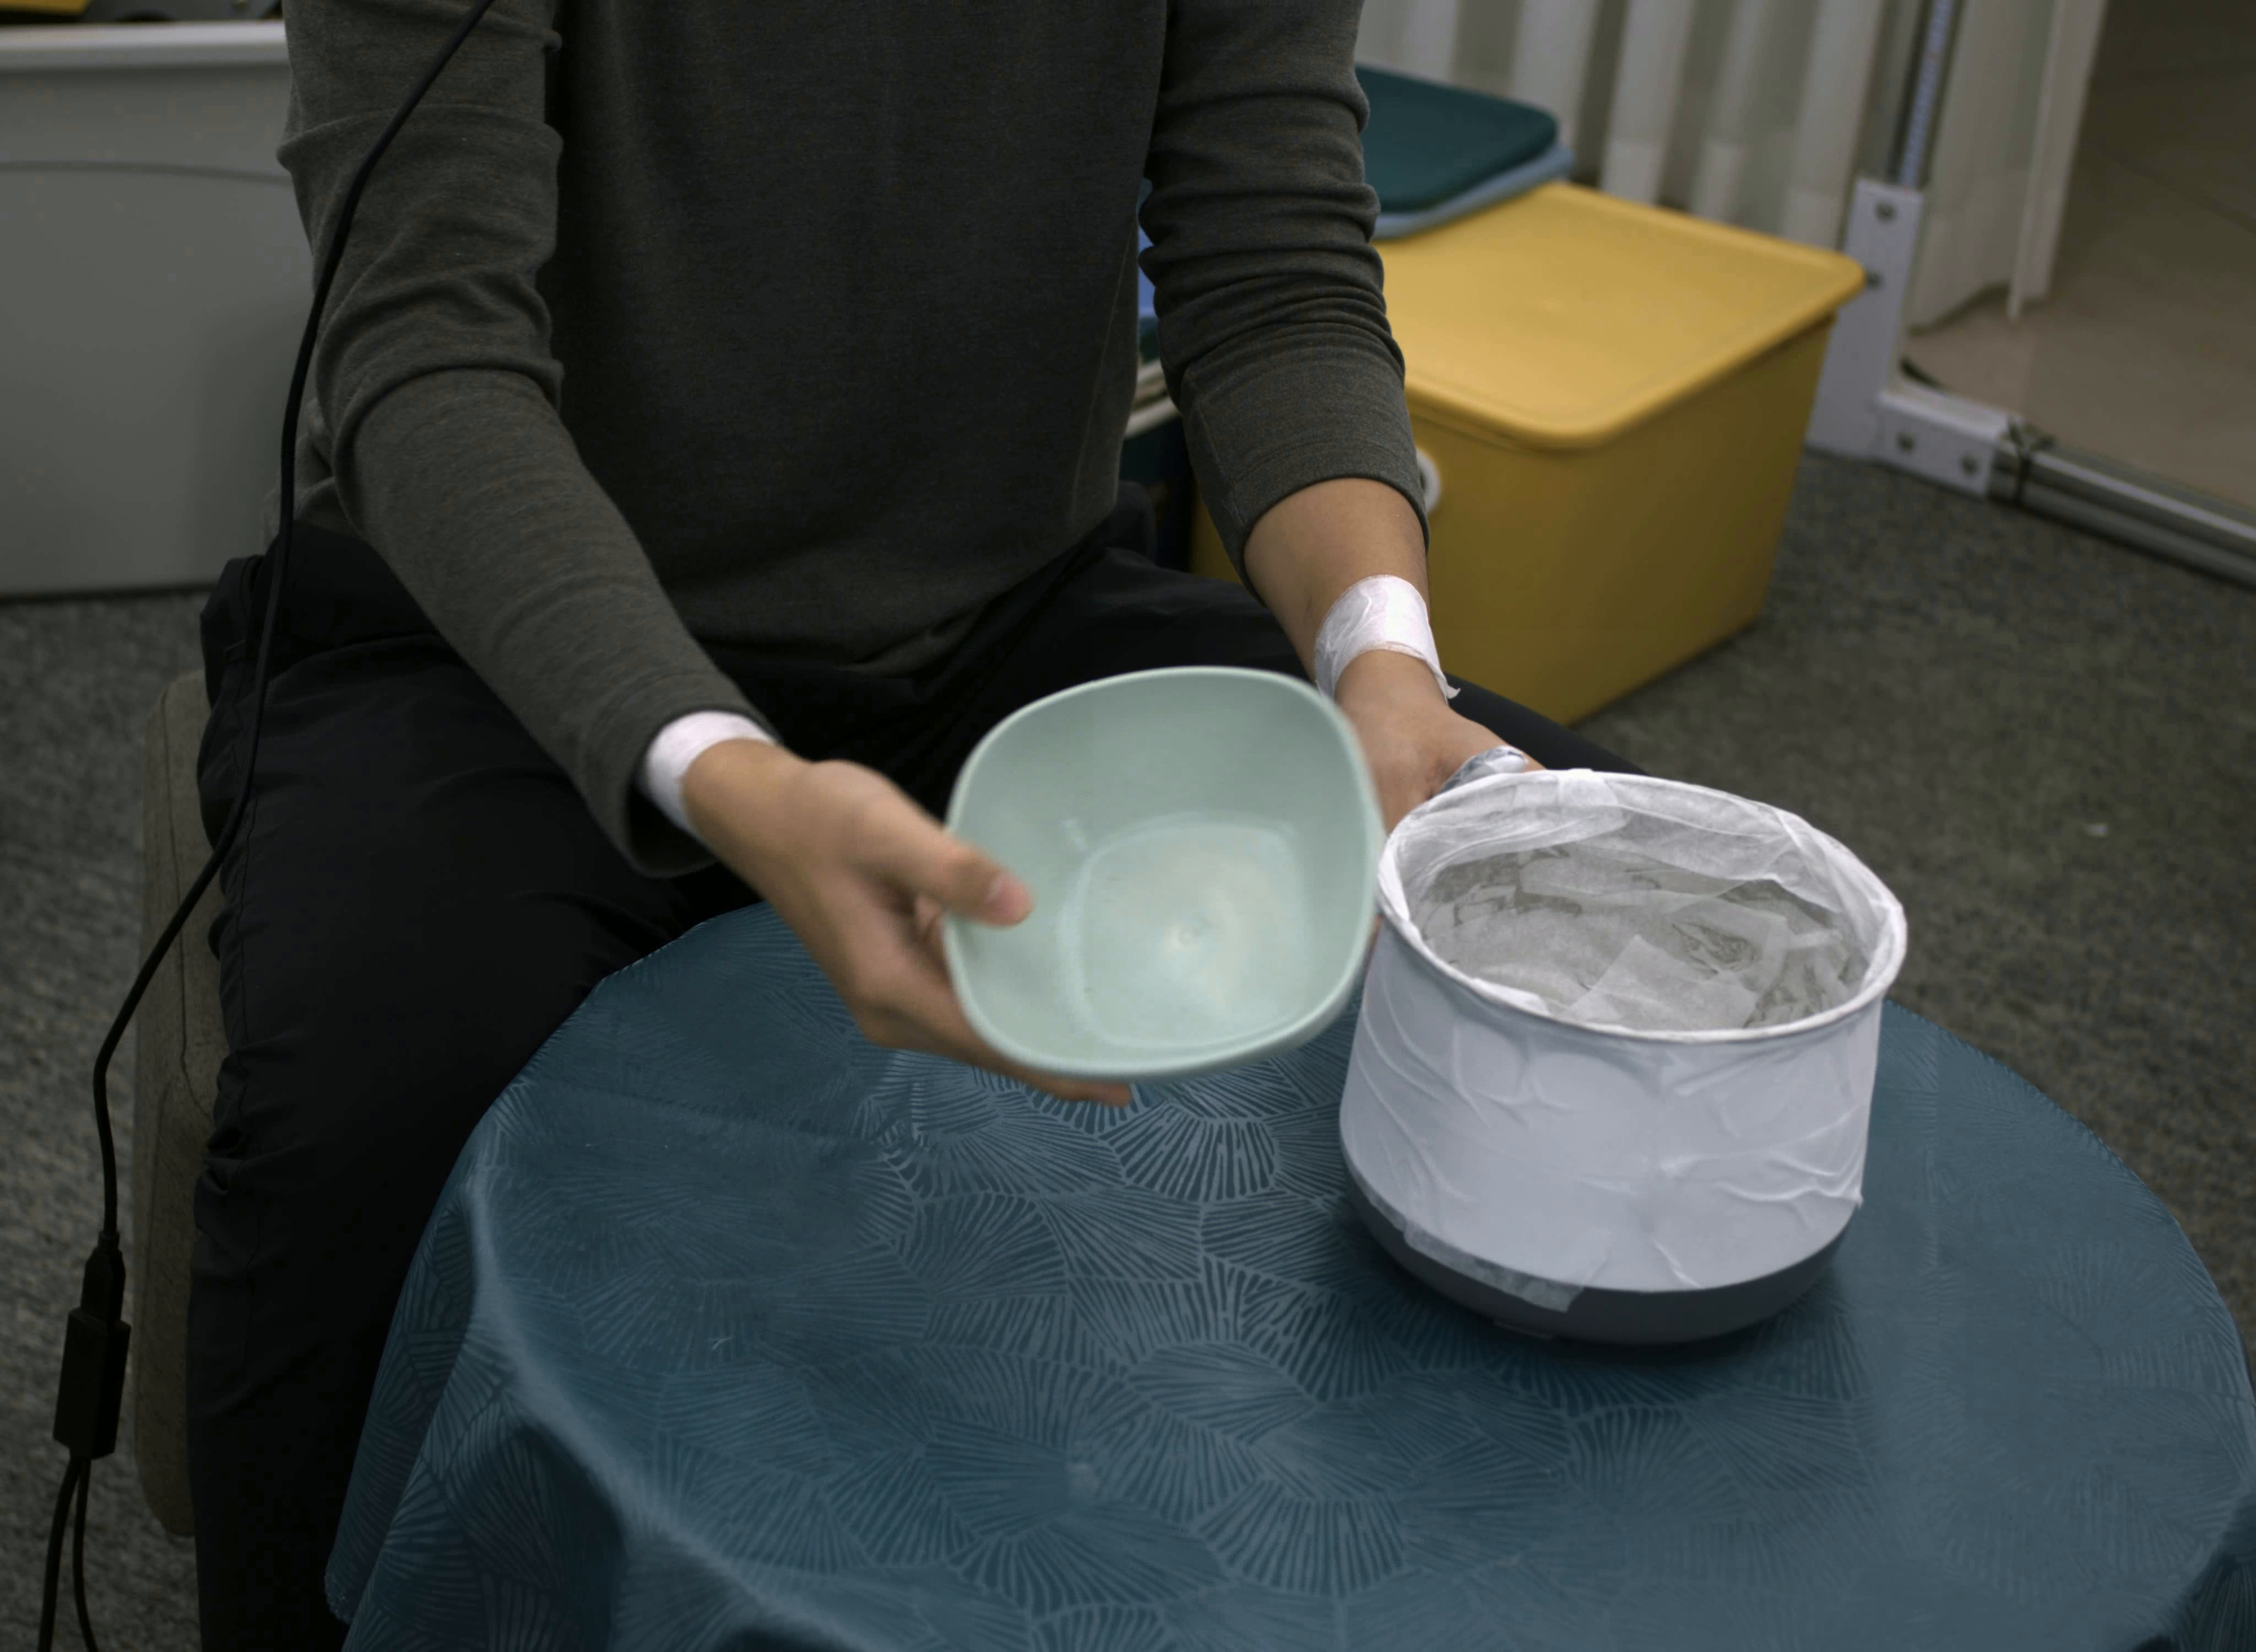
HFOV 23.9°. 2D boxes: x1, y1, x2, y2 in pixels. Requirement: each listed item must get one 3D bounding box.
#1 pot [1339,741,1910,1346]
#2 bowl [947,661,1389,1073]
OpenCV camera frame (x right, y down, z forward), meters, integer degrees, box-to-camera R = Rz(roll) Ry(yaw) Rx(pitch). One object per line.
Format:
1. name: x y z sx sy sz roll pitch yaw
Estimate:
1. pot: 0.151 0.065 1.797 0.177 0.136 0.236 -7 31 -24
2. bowl: 0.017 0.022 1.669 0.151 0.058 0.152 -6 61 10
